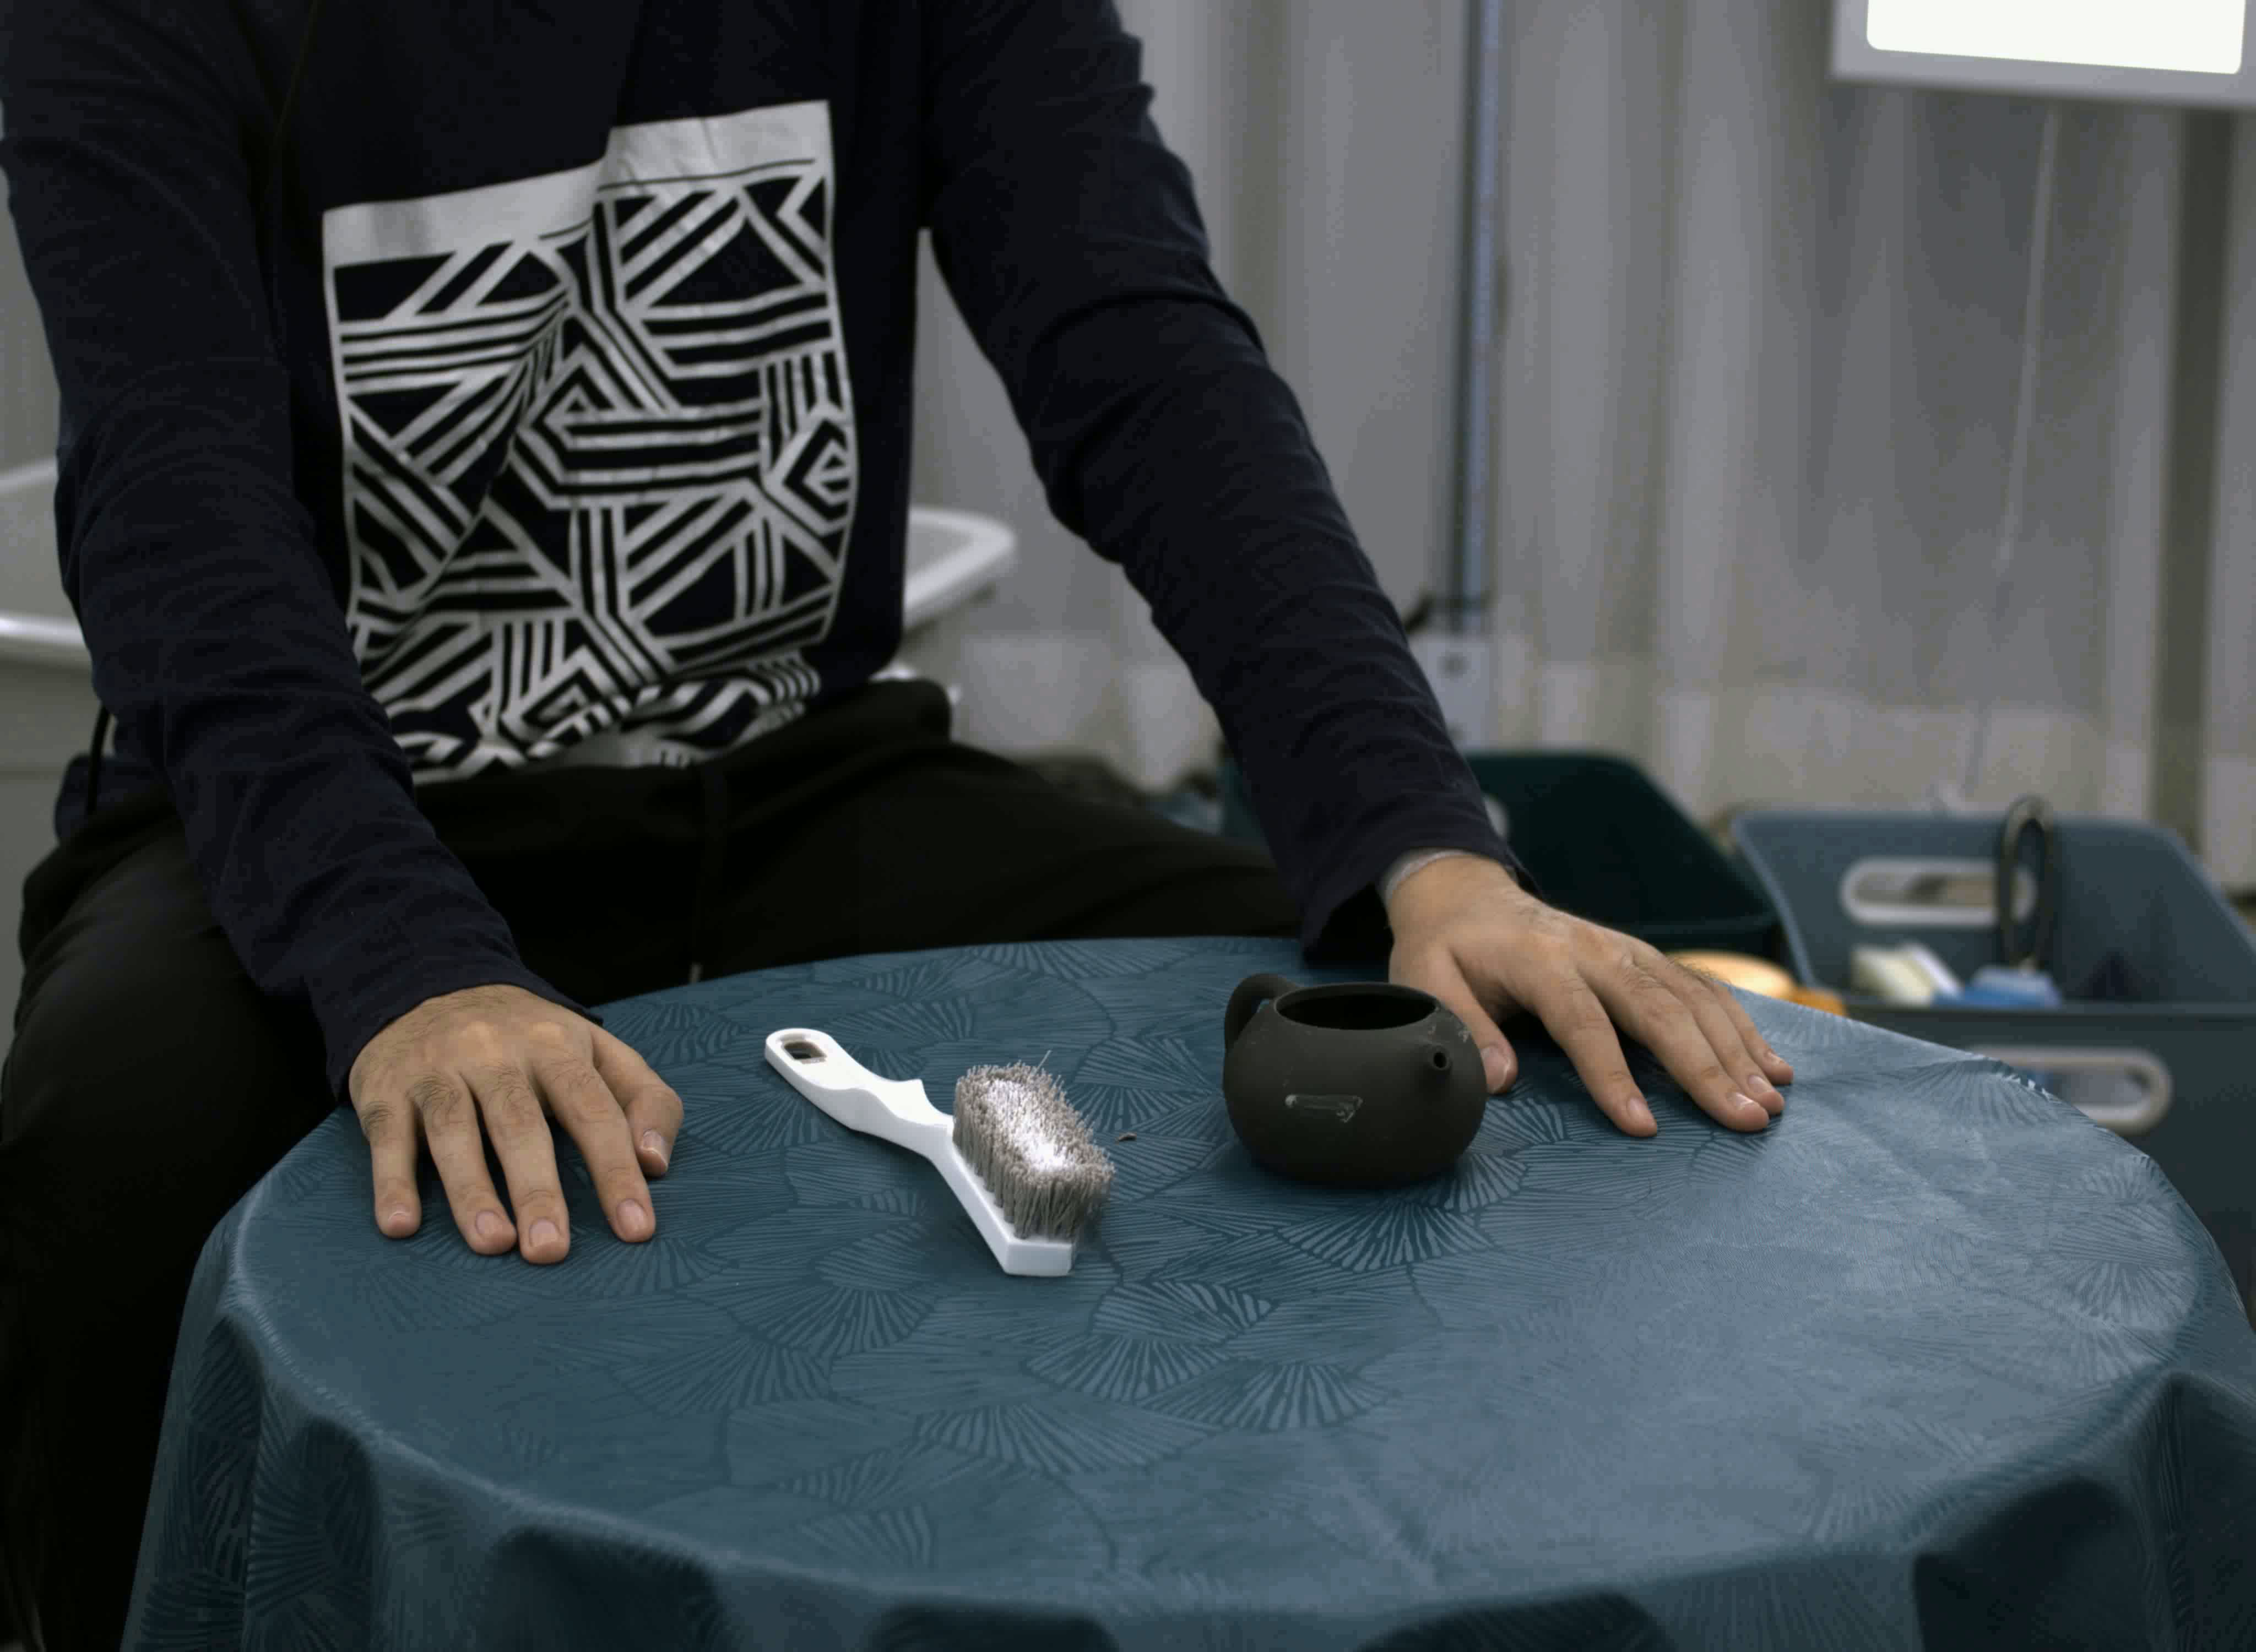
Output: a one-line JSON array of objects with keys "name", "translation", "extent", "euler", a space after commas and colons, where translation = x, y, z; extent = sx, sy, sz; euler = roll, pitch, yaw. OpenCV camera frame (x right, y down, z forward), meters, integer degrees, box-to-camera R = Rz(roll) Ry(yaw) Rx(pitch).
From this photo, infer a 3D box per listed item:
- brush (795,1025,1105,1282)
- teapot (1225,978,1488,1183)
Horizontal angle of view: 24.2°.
[{"name": "brush", "translation": [-0.061, 0.082, 1.643], "extent": [0.034, 0.050, 0.241], "euler": [-10, 18, -19]}, {"name": "teapot", "translation": [0.065, 0.077, 1.660], "extent": [0.083, 0.053, 0.112], "euler": [-11, 20, -31]}]
